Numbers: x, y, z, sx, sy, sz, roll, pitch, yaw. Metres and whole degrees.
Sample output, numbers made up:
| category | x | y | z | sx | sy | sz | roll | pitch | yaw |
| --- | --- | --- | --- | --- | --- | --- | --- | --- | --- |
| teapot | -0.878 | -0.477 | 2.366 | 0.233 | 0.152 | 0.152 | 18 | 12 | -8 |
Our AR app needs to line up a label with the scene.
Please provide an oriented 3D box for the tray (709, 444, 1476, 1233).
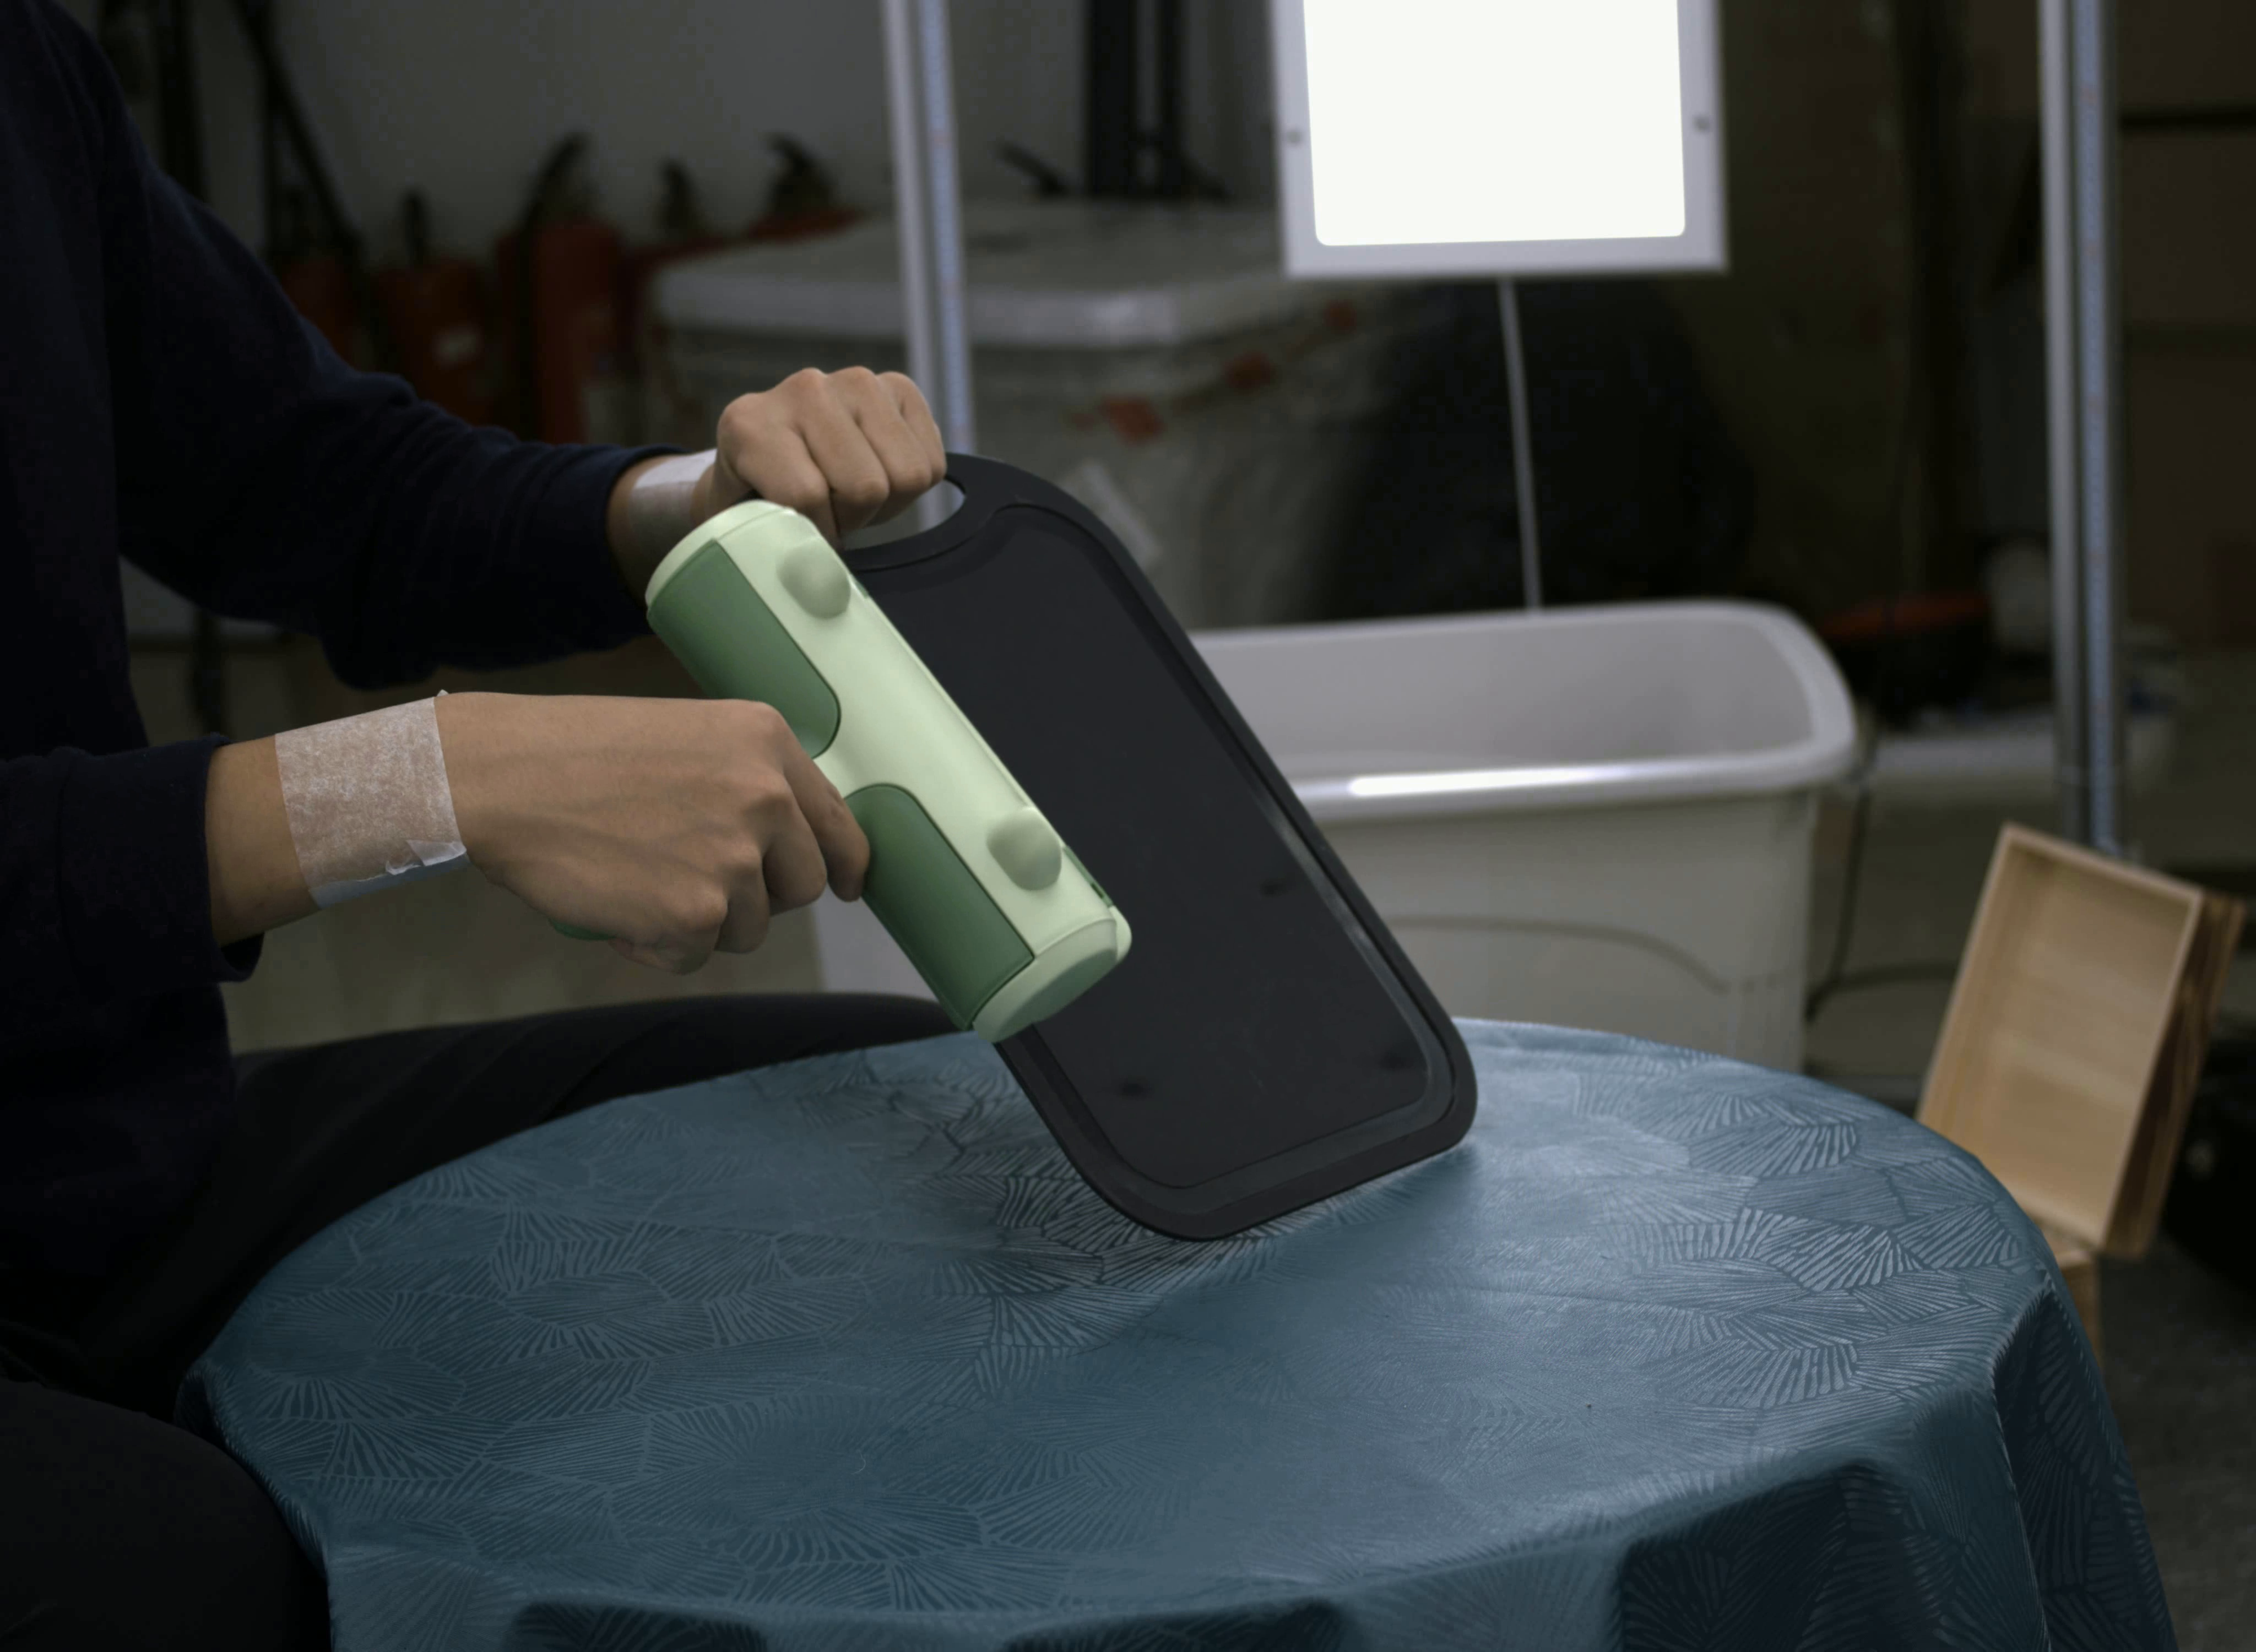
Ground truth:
| category | x | y | z | sx | sy | sz | roll | pitch | yaw |
| --- | --- | --- | --- | --- | --- | --- | --- | --- | --- |
| tray | -0.017 | -0.006 | 1.908 | 0.206 | 0.327 | 0.010 | -16 | -25 | -47 |

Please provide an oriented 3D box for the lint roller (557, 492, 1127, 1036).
| category | x | y | z | sx | sy | sz | roll | pitch | yaw |
| --- | --- | --- | --- | --- | --- | --- | --- | --- | --- |
| lint roller | -0.106 | -0.016 | 1.758 | 0.083 | 0.200 | 0.179 | -47 | -16 | 32 |
